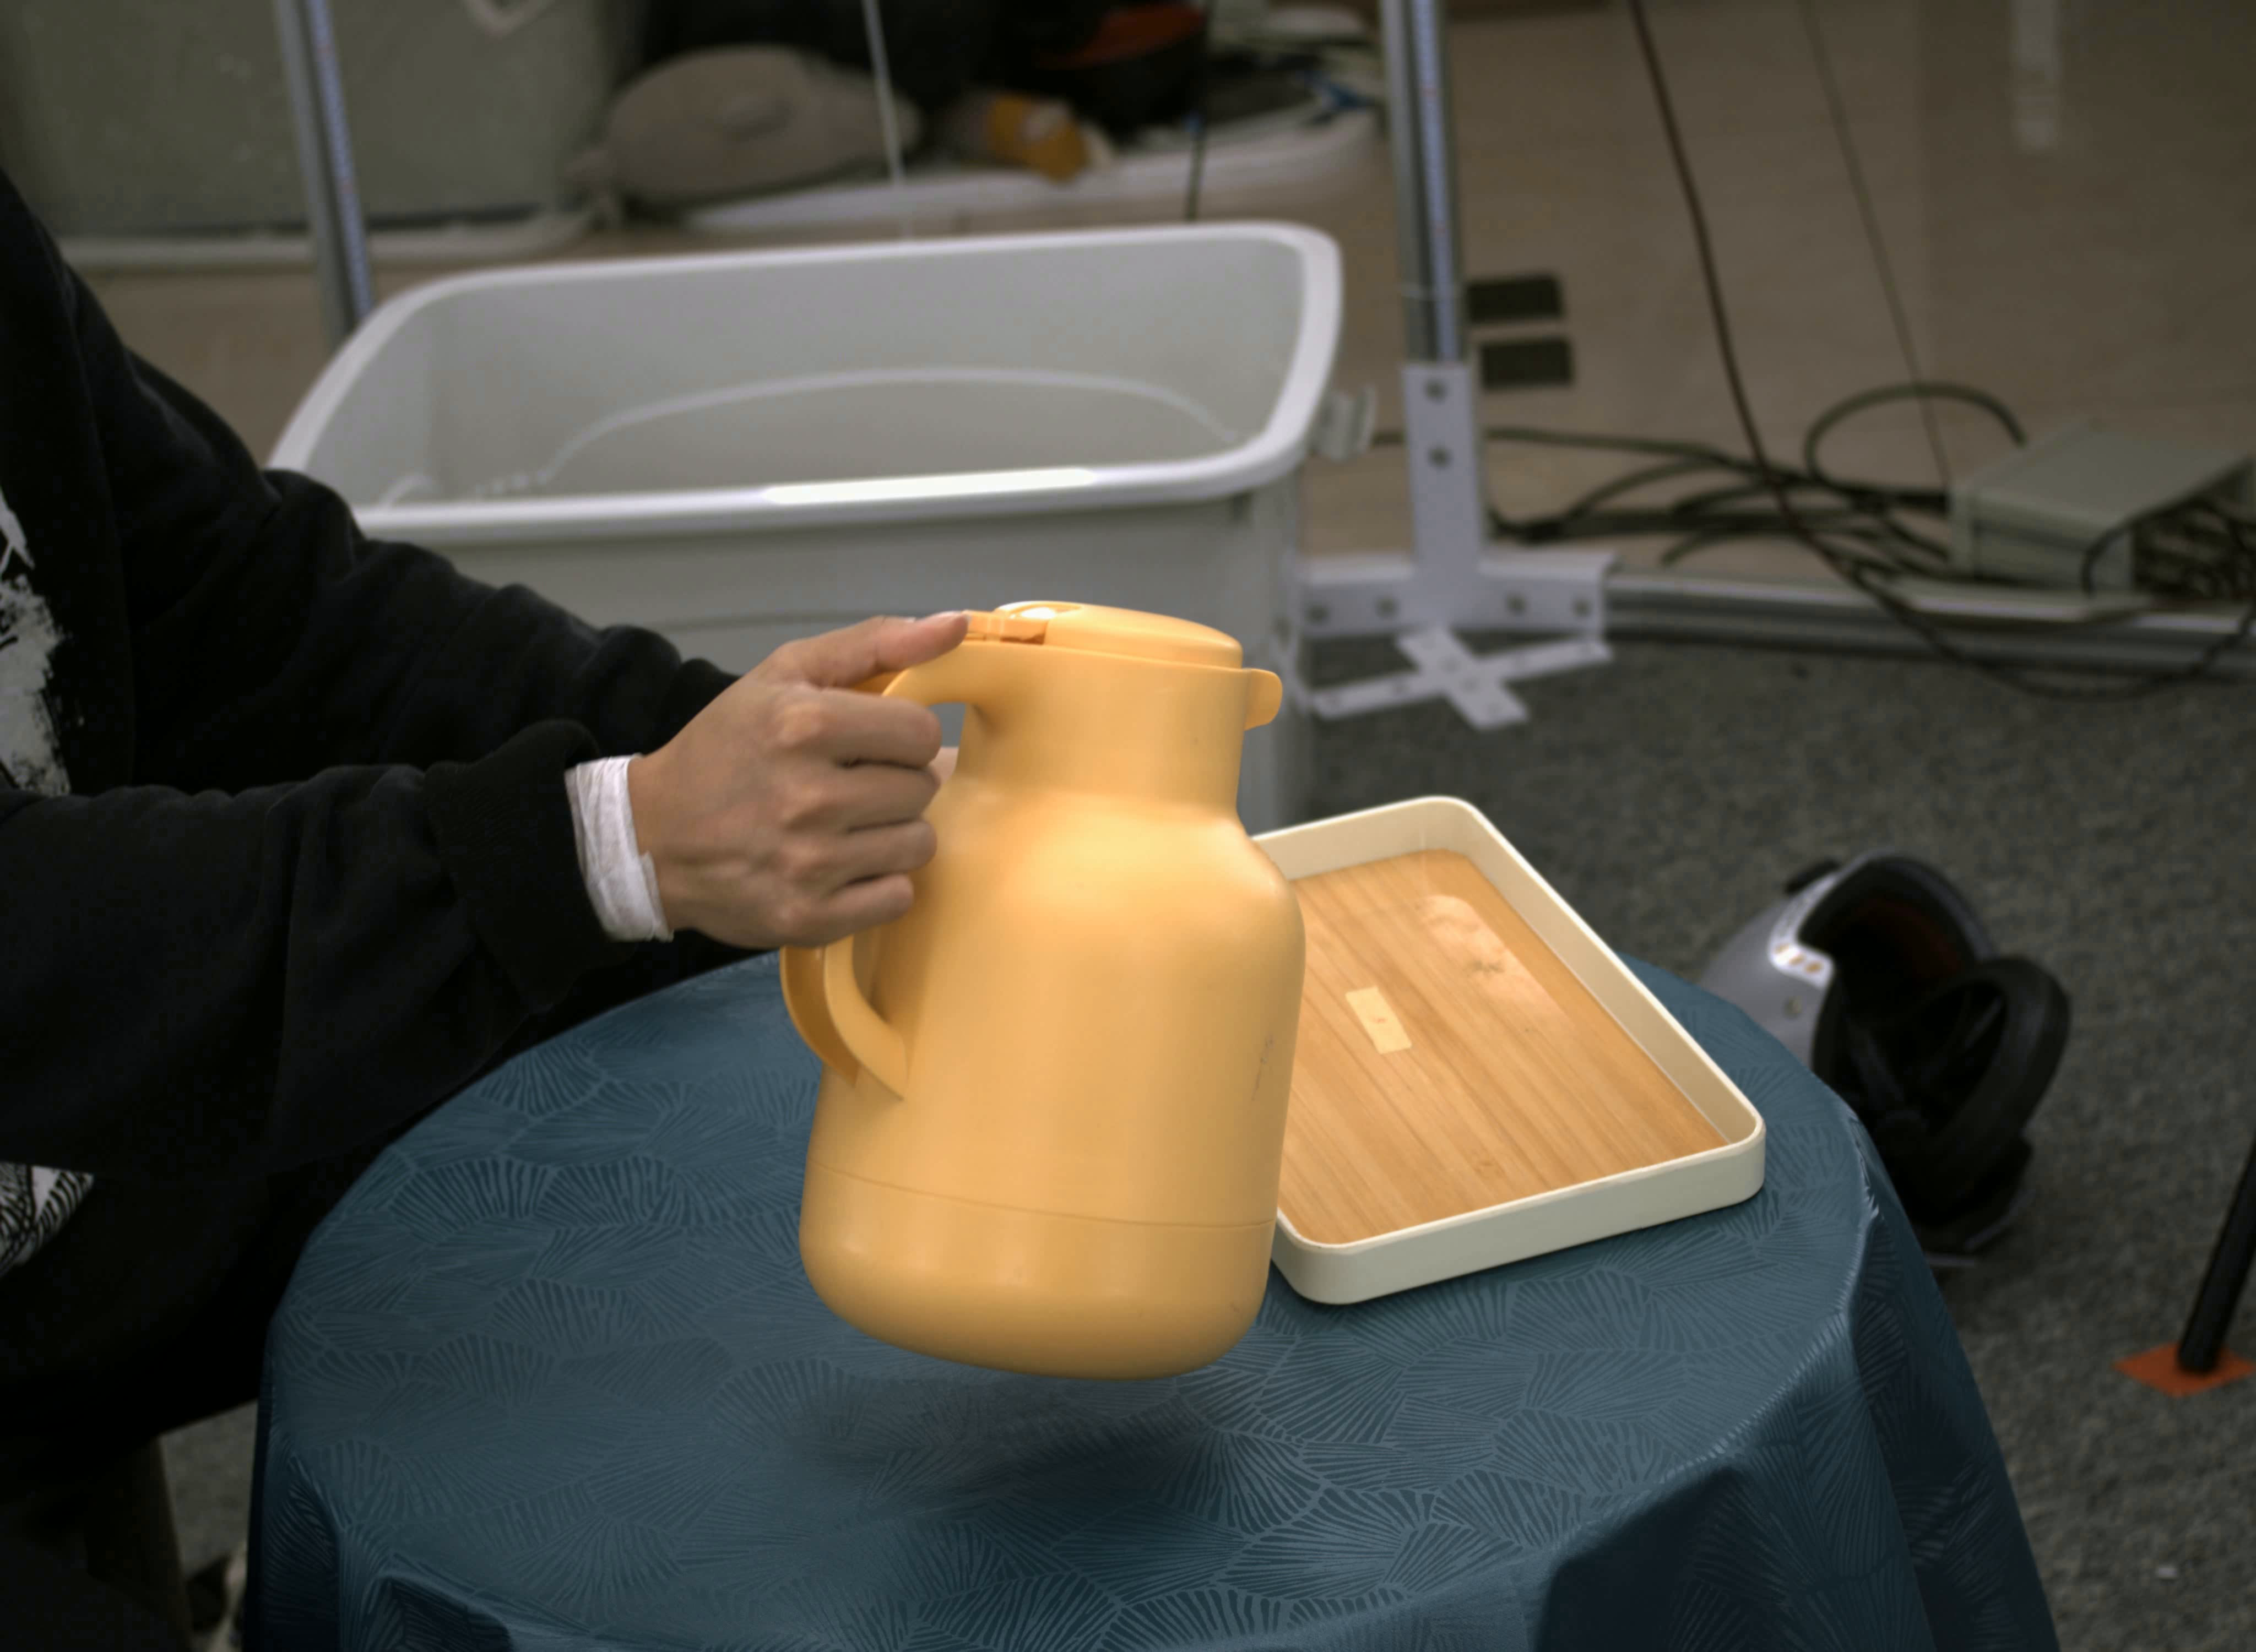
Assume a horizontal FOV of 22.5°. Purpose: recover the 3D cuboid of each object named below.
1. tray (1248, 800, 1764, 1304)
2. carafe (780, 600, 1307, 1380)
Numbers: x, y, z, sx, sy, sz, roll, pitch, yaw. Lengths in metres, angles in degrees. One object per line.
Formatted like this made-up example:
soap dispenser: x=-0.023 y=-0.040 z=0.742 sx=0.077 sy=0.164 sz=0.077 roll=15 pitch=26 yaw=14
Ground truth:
tray: x=0.100 y=0.082 z=2.186 sx=0.191 sy=0.028 sz=0.296 roll=-13 pitch=30 yaw=-16
carafe: x=-0.036 y=0.052 z=1.938 sx=0.202 sy=0.261 sz=0.162 roll=5 pitch=3 yaw=-40
